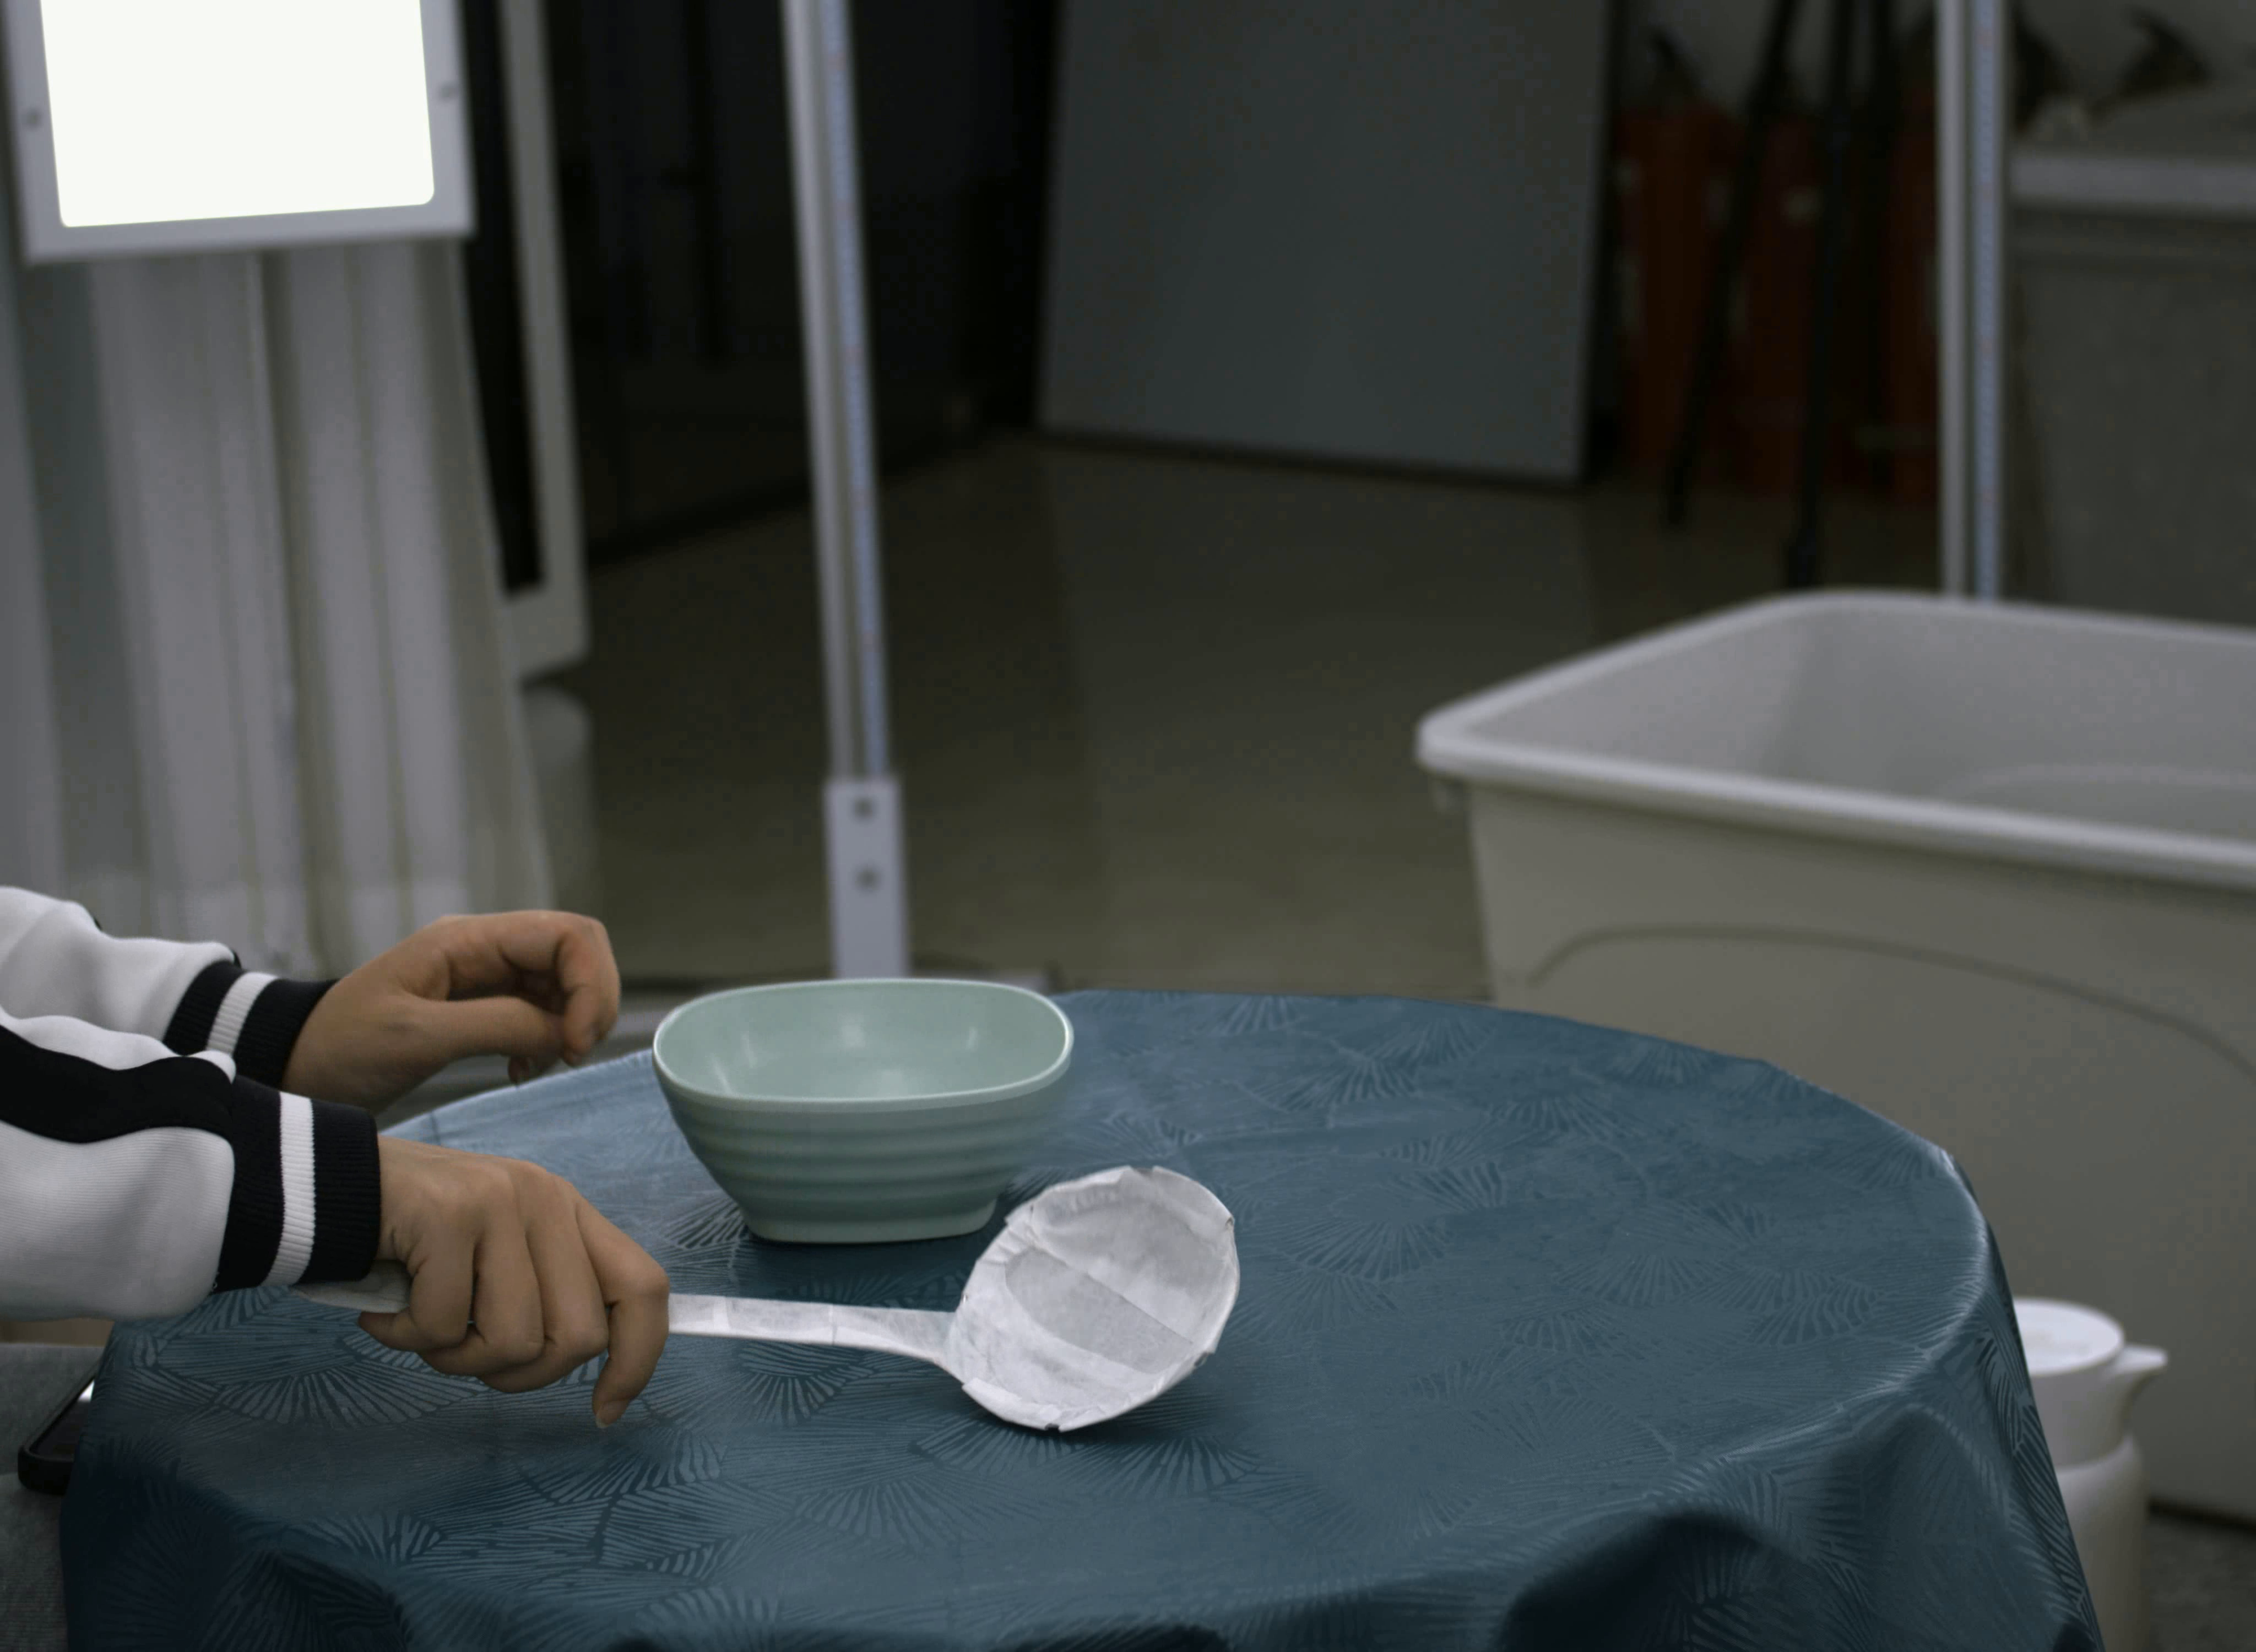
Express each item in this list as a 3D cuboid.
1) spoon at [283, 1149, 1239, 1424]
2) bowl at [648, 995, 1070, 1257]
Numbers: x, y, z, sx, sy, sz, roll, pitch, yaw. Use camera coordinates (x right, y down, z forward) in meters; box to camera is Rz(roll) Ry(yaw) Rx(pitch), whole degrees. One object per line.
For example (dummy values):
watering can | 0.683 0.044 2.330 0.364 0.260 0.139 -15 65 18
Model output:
spoon | -0.107 0.121 1.575 0.273 0.060 0.101 9 38 -3
bowl | -0.087 0.100 1.764 0.149 0.059 0.151 -1 13 -1
